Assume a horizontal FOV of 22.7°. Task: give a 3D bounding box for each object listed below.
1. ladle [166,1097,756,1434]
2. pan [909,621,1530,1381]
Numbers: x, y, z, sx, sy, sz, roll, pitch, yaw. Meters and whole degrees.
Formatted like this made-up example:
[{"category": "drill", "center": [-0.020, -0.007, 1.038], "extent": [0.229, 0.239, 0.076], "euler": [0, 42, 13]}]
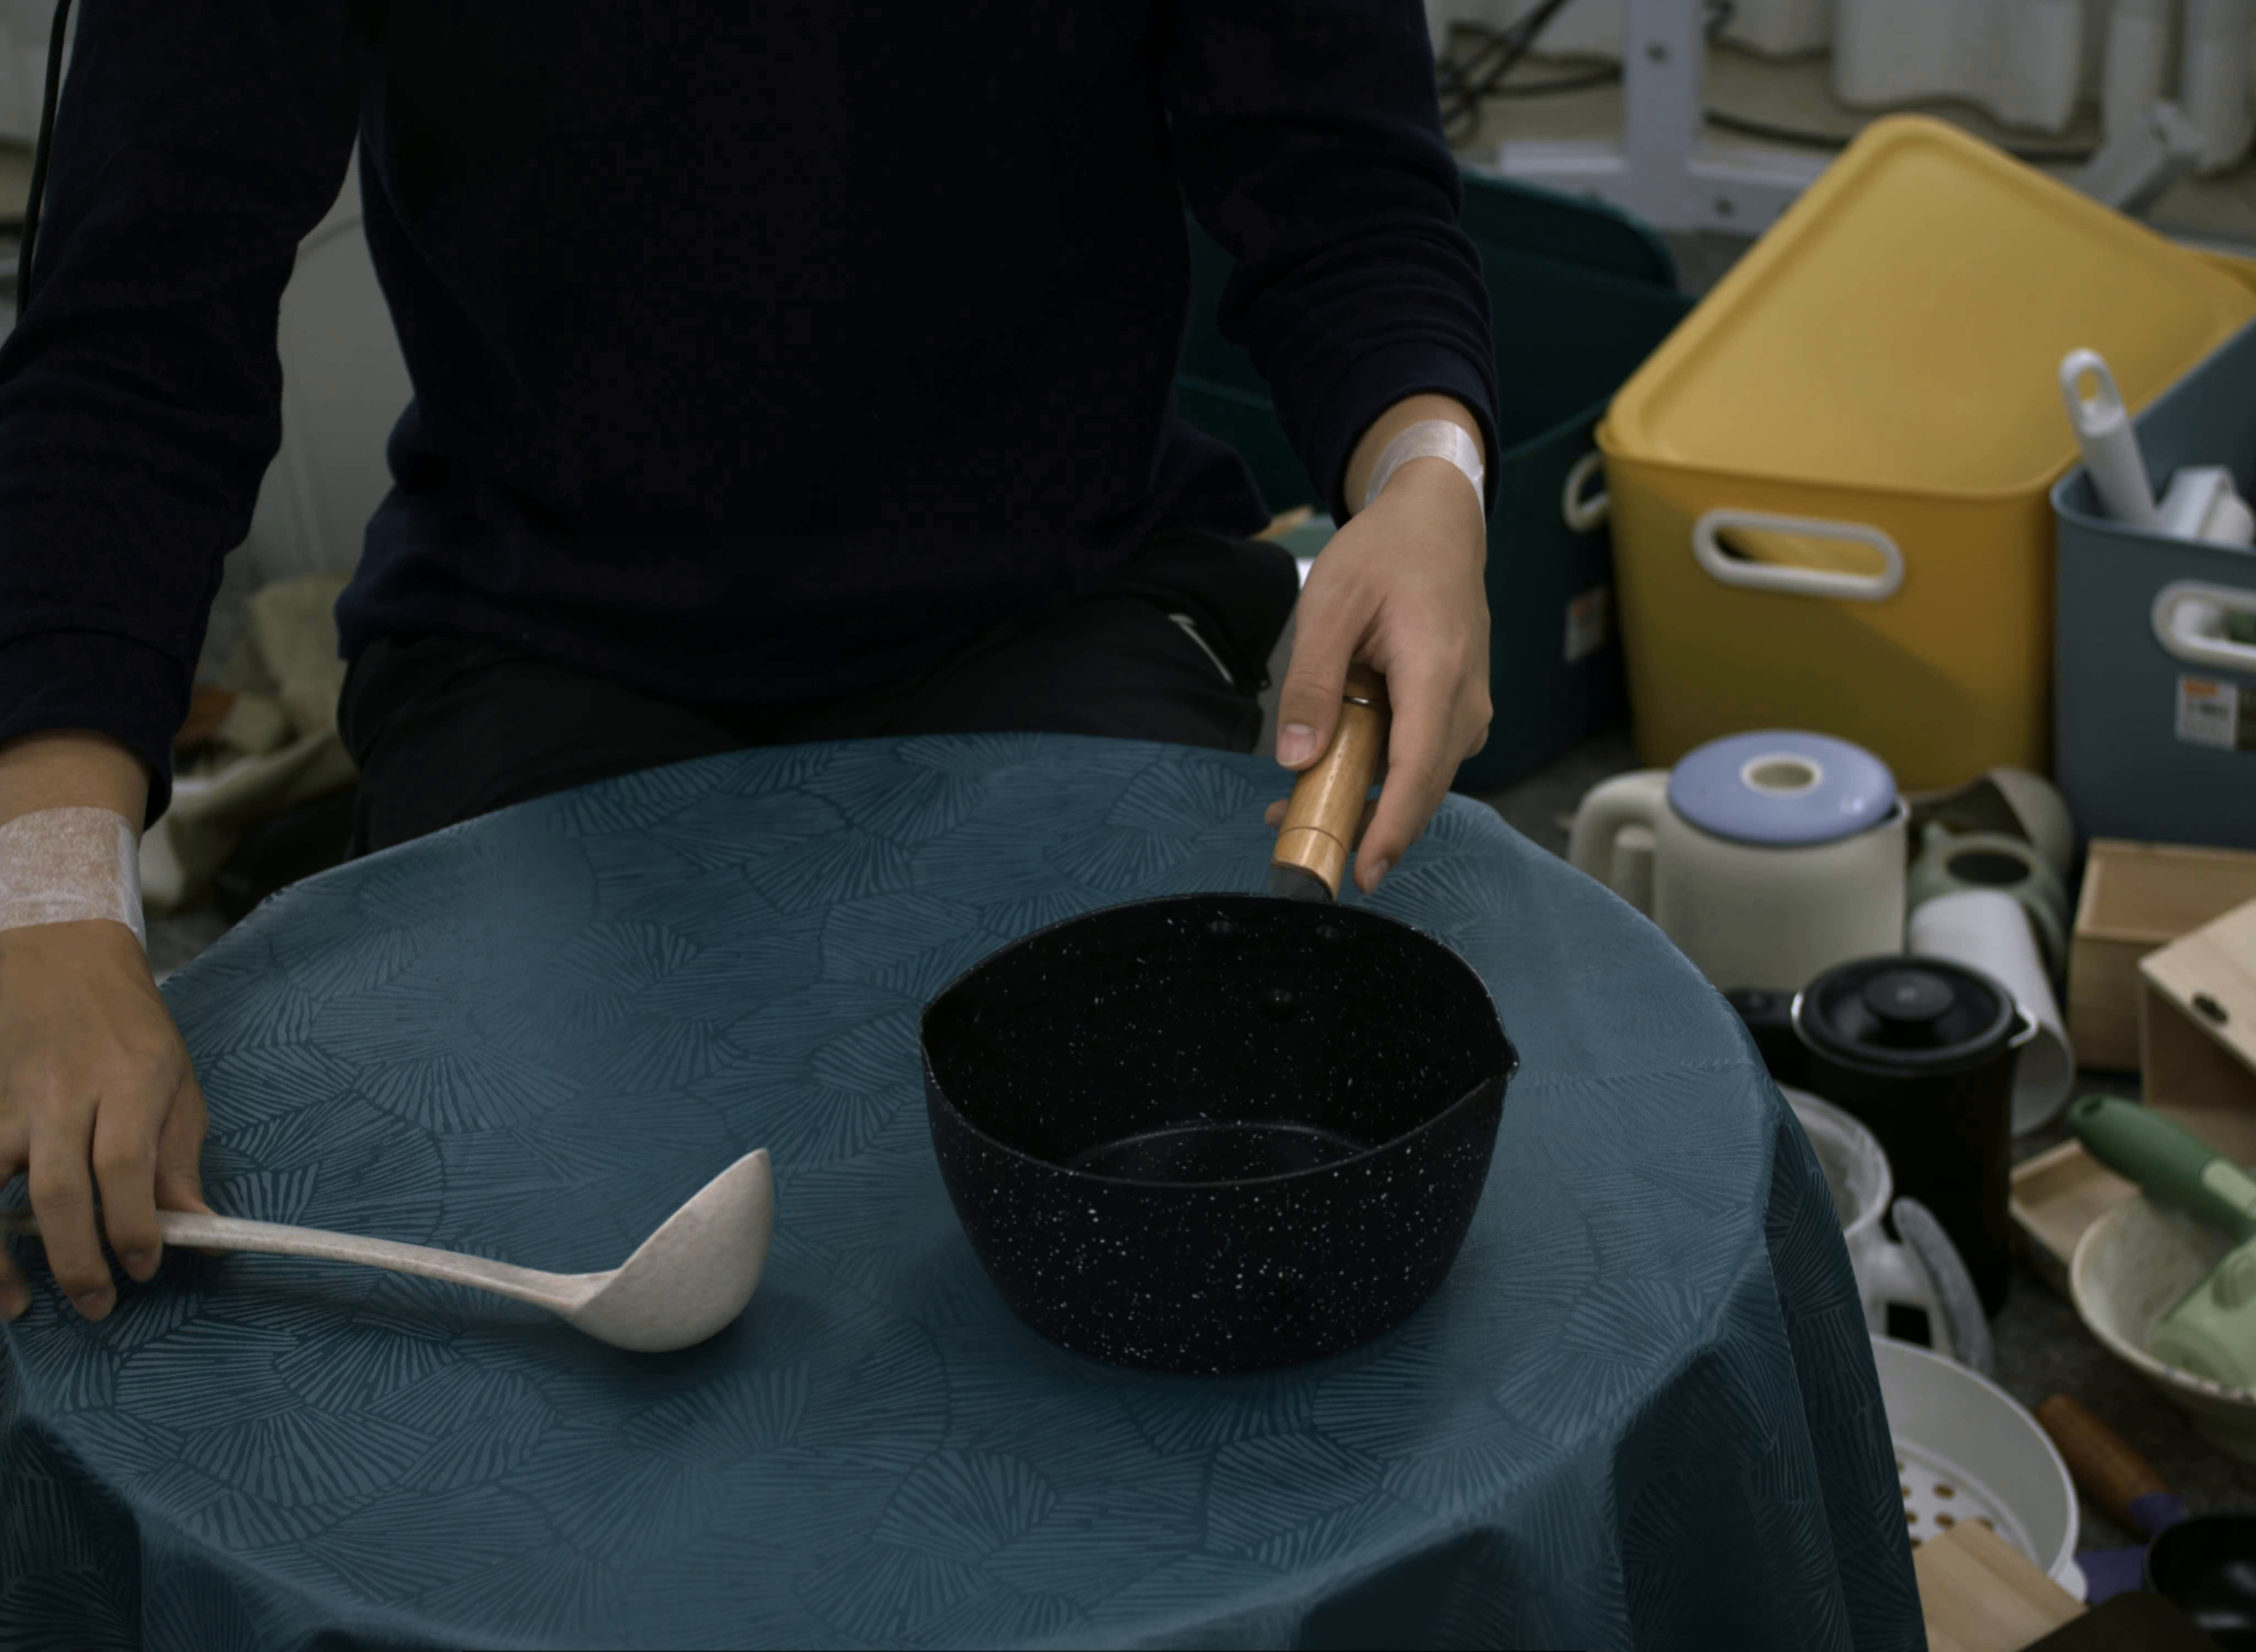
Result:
[{"category": "ladle", "center": [-0.230, 0.147, 1.847], "extent": [0.271, 0.070, 0.089], "euler": [-17, -21, 42]}, {"category": "pan", "center": [0.046, 0.054, 1.871], "extent": [0.206, 0.107, 0.349], "euler": [3, 29, 14]}]
